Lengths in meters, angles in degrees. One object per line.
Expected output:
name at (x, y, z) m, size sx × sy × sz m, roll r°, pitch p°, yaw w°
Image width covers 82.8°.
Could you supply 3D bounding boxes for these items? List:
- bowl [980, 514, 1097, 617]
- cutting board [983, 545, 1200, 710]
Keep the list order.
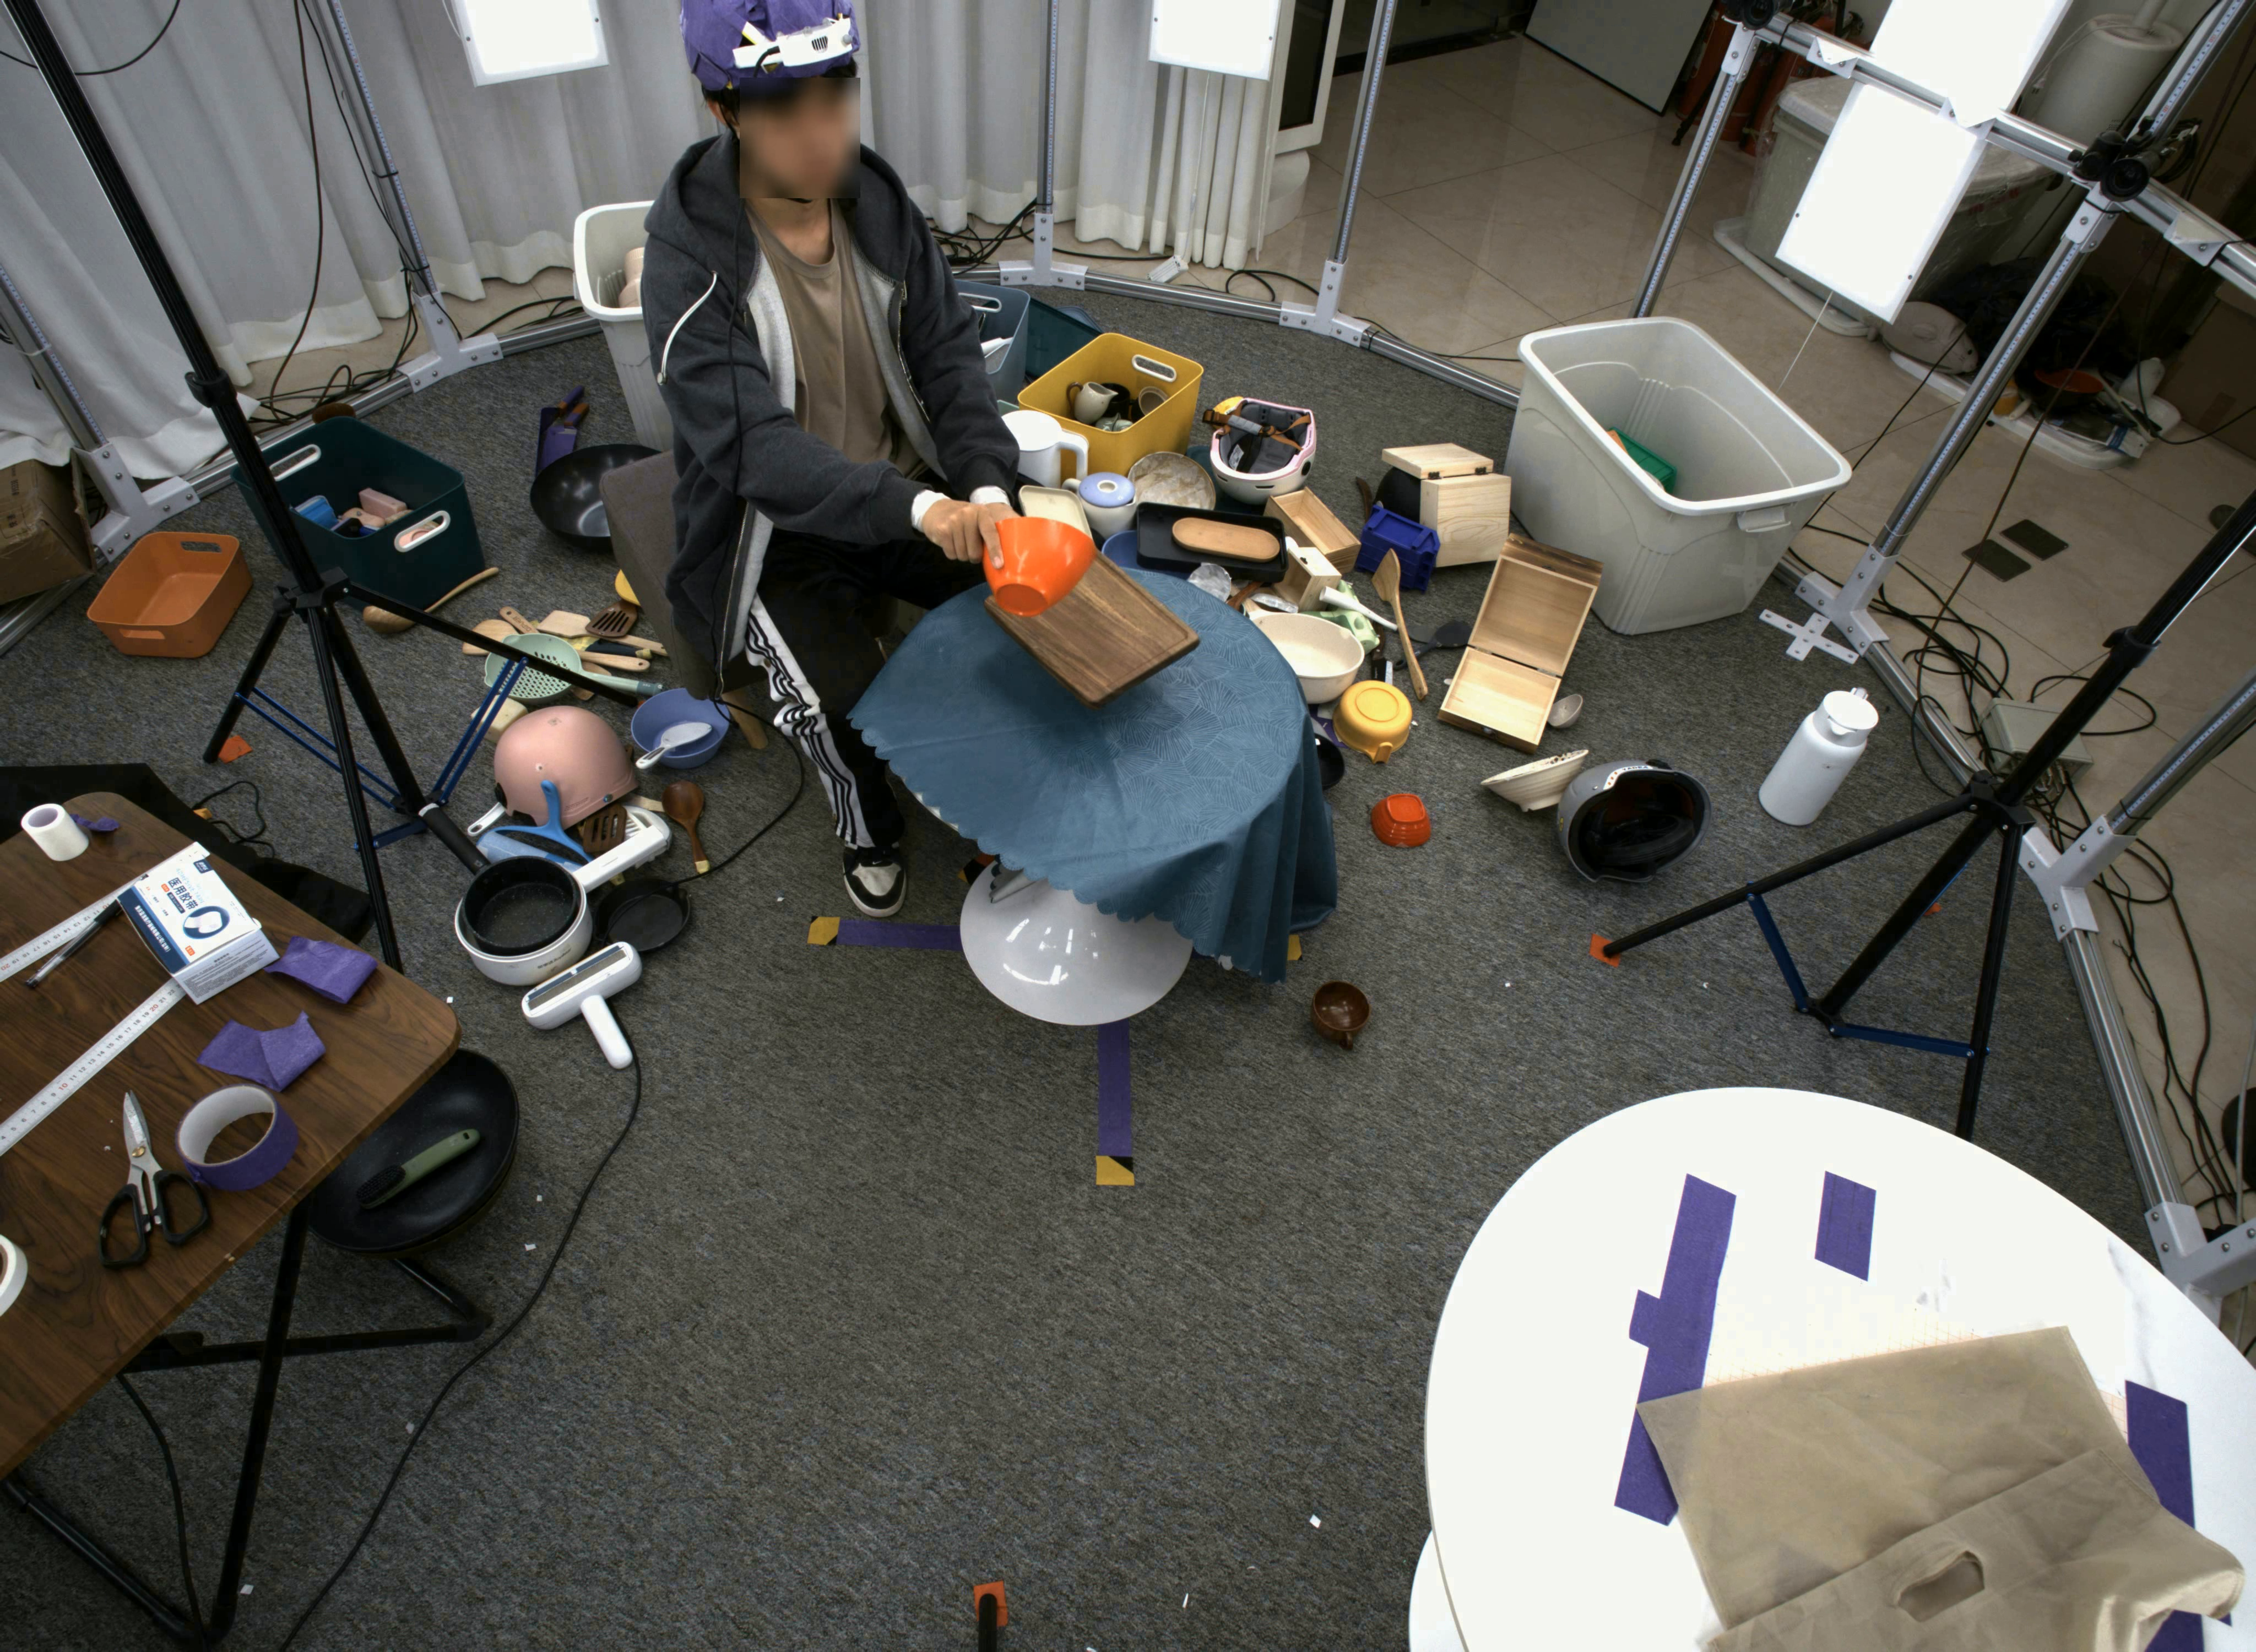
bowl at (-0.119, -0.316, 1.609) m, size 0.148 × 0.145 × 0.107 m, roll 10°, pitch 62°, yaw 3°
cutting board at (-0.083, -0.316, 1.821) m, size 0.202 × 0.022 × 0.358 m, roll -33°, pitch 59°, yaw -23°
